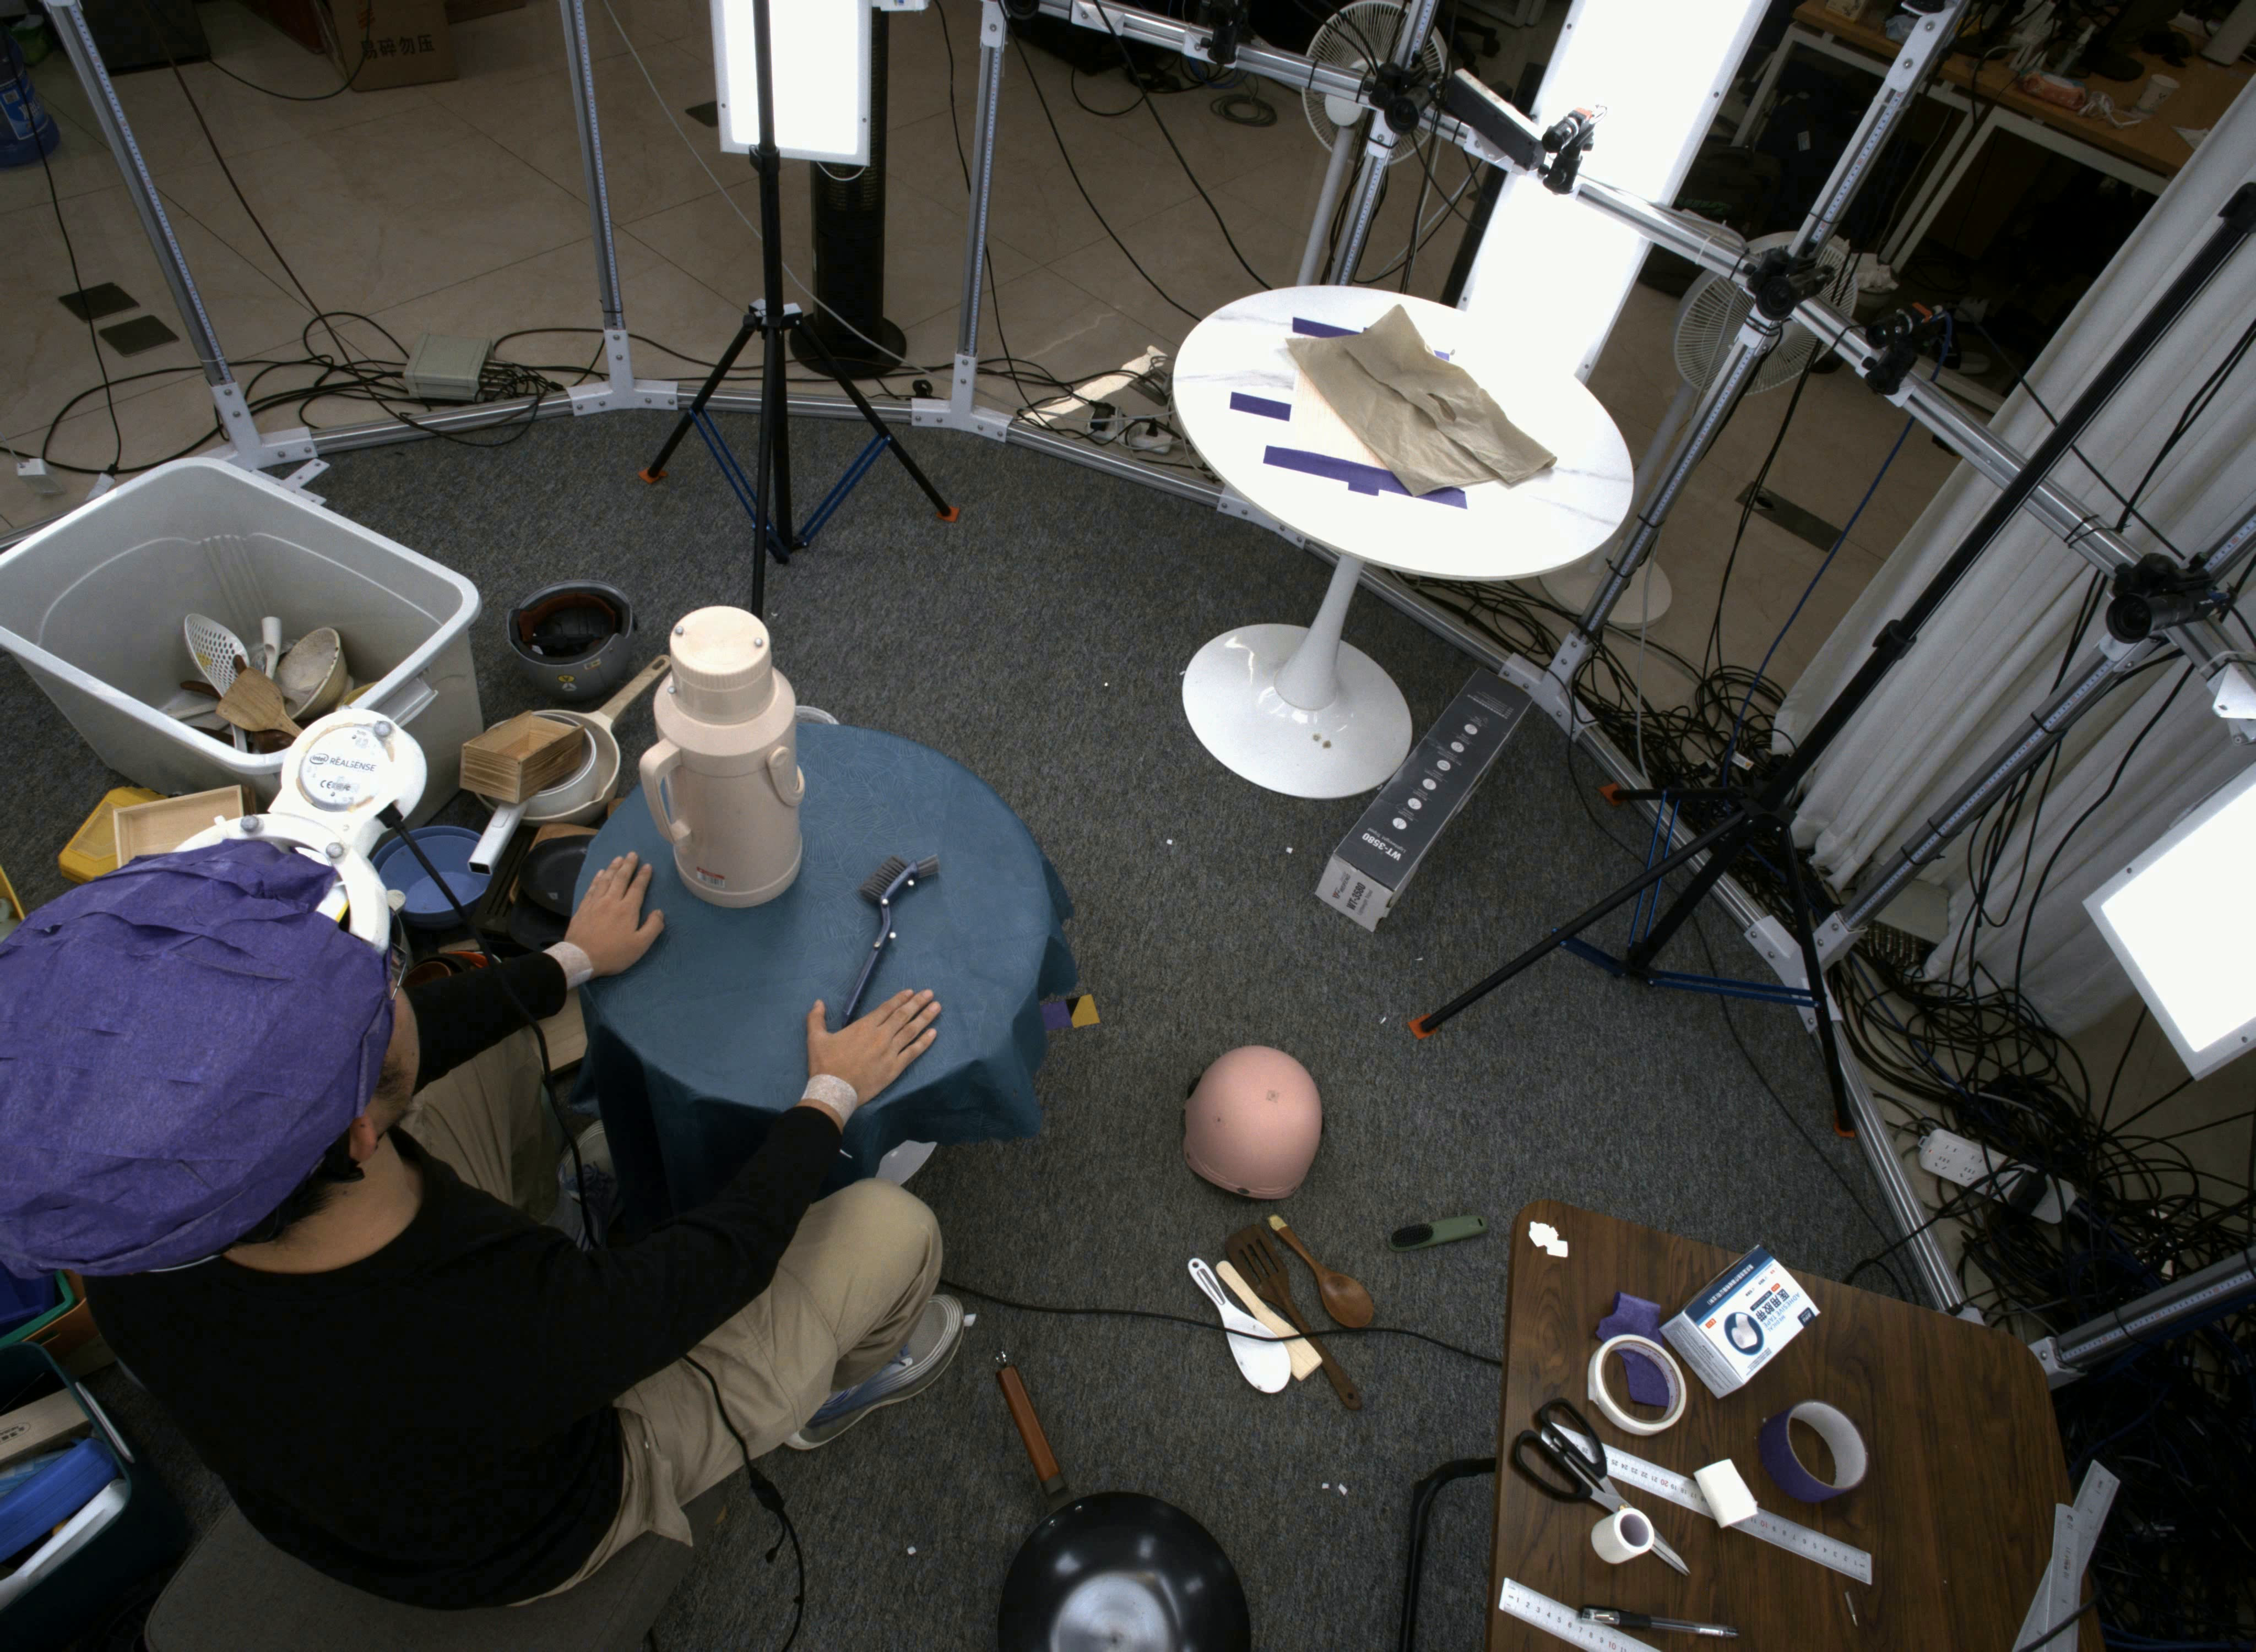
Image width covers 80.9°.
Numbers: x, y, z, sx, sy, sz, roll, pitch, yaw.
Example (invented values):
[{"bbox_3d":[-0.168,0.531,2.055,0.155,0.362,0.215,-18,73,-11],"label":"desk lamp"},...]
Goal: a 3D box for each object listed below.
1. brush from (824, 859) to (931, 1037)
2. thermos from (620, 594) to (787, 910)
[{"bbox_3d":[-0.315,0.143,1.619,0.095,0.034,0.268,11,50,-5],"label":"brush"},{"bbox_3d":[-0.497,-0.075,1.498,0.172,0.414,0.207,34,53,13],"label":"thermos"}]
